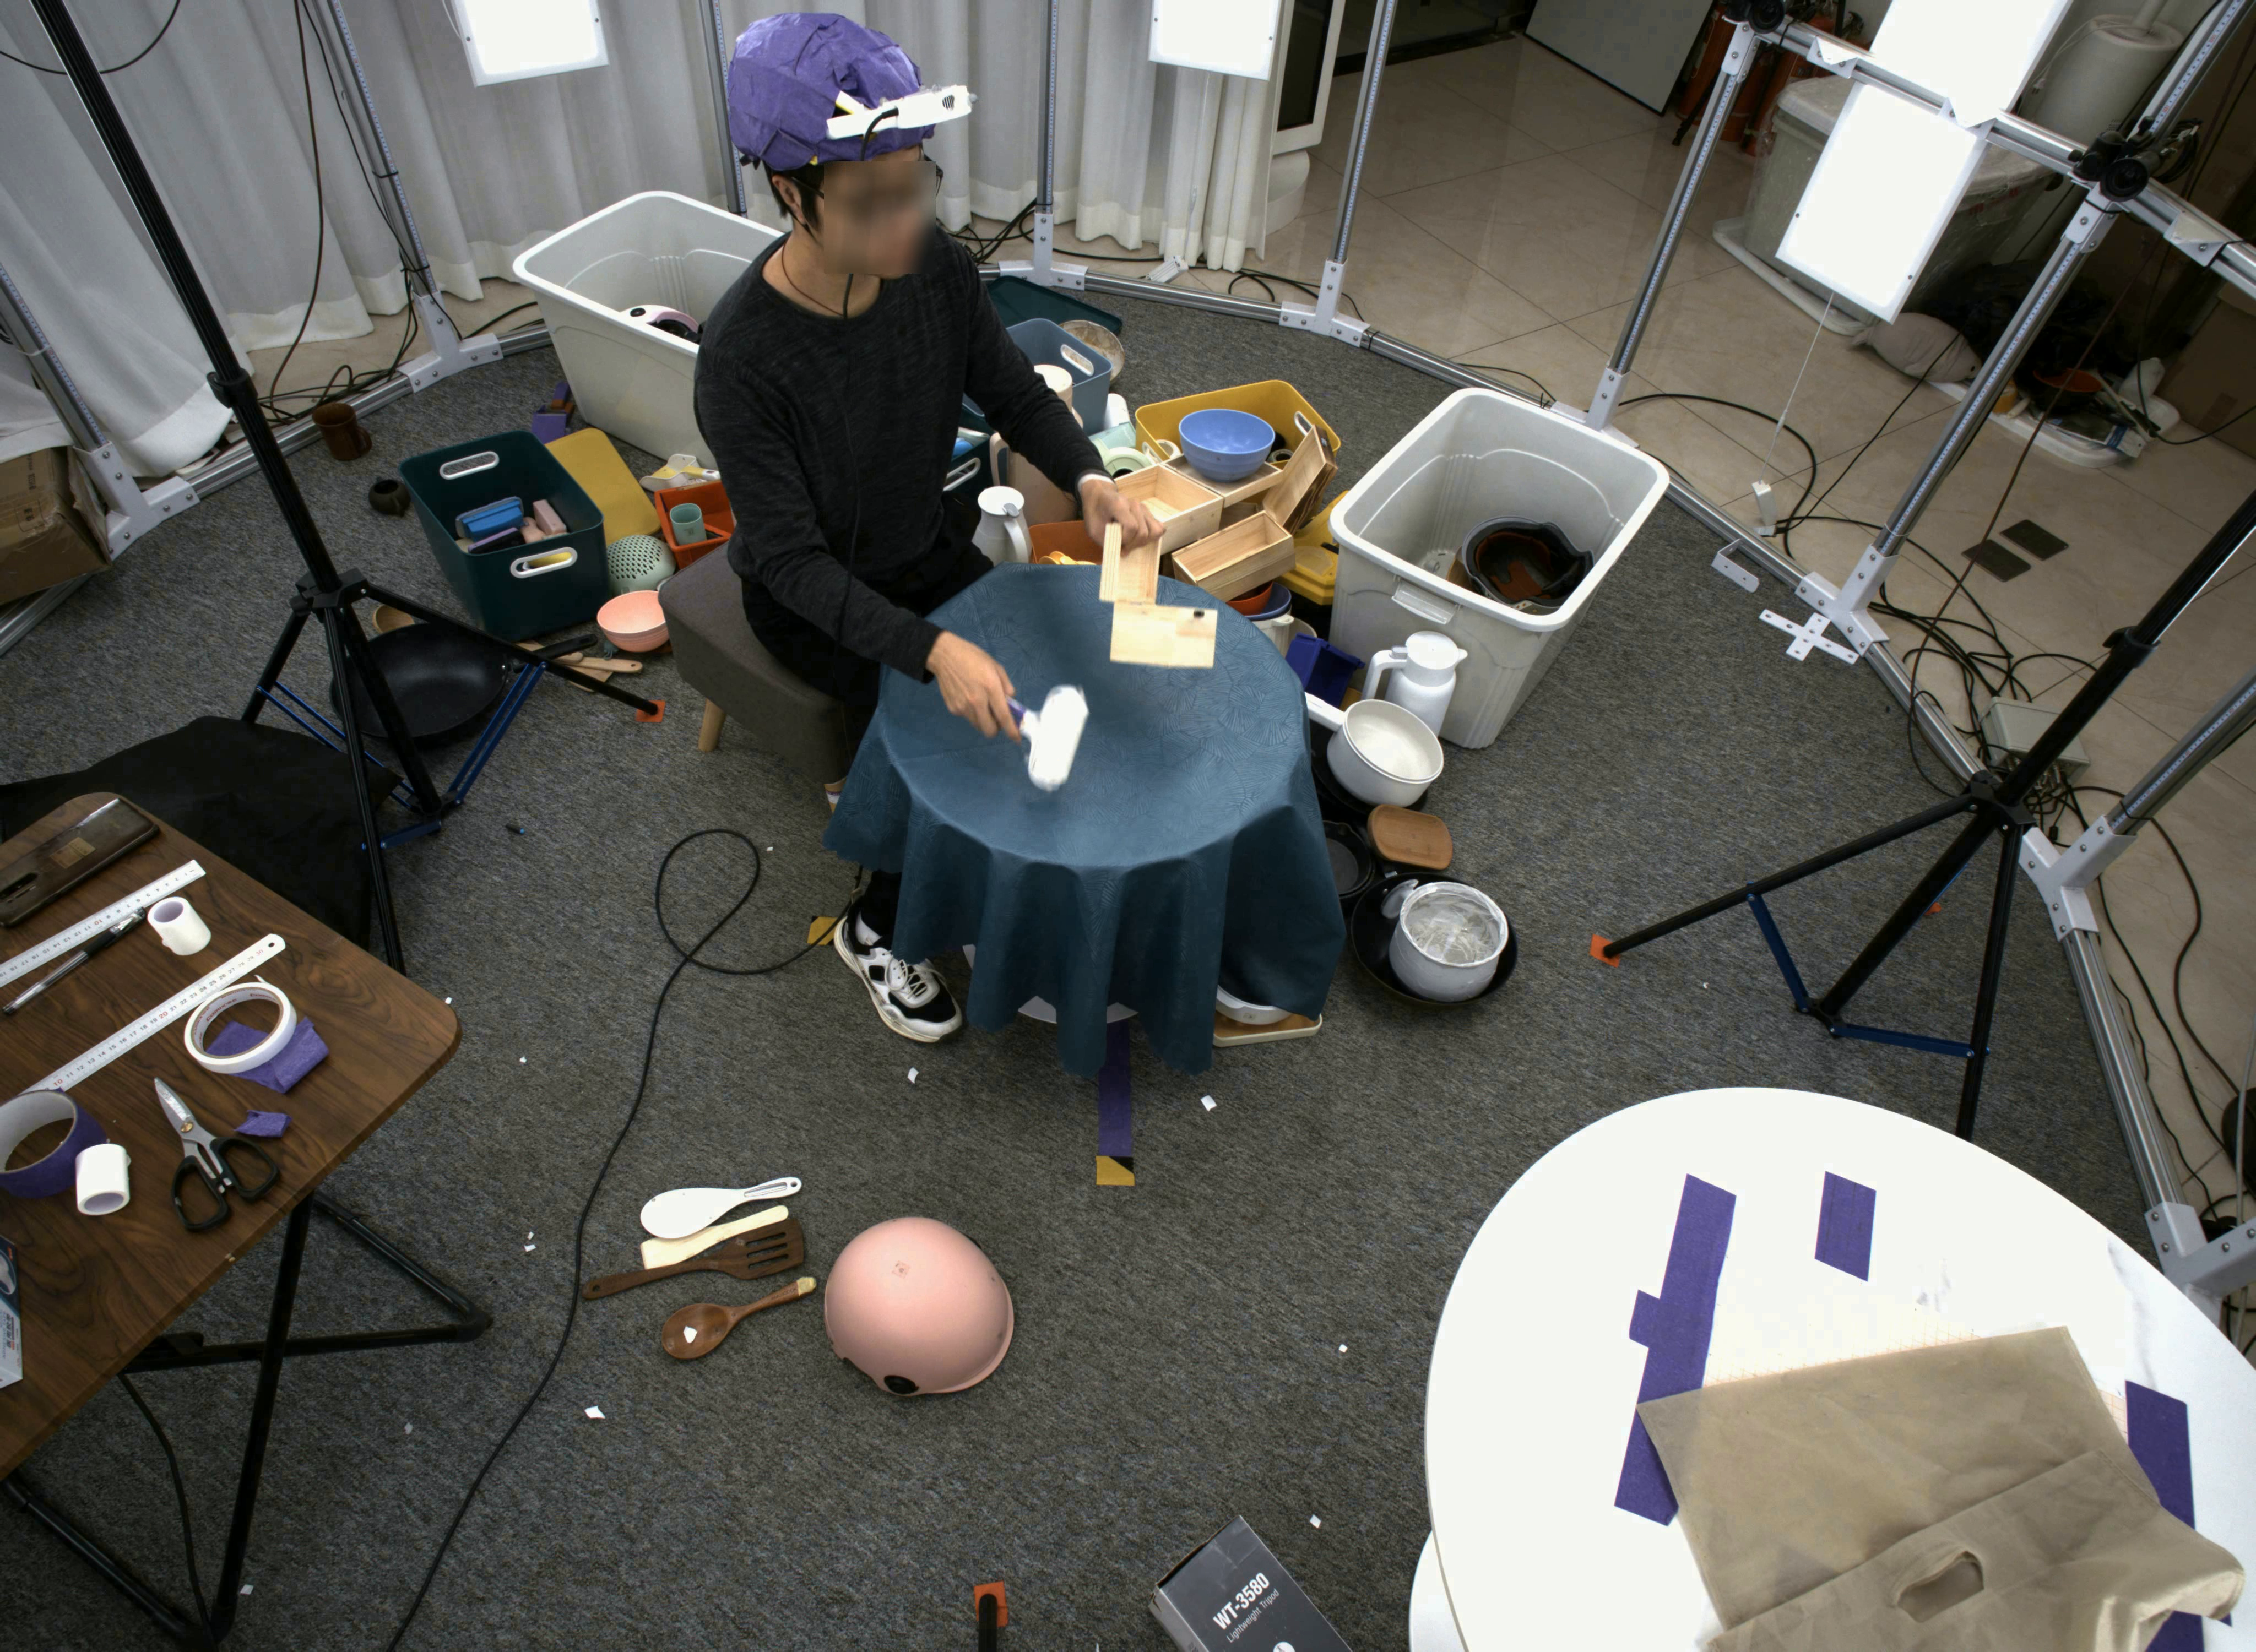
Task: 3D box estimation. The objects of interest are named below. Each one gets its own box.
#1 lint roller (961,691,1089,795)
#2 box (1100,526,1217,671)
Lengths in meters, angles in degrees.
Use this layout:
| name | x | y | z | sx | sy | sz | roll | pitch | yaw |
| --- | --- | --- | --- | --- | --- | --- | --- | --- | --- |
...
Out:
| name | x | y | z | sx | sy | sz | roll | pitch | yaw |
| --- | --- | --- | --- | --- | --- | --- | --- | --- | --- |
| lint roller | -0.145 | -0.131 | 1.667 | 0.182 | 0.131 | 0.050 | 27 | 21 | 11 |
| box | 0.045 | -0.305 | 1.723 | 0.135 | 0.183 | 0.102 | 10 | 10 | 35 |
